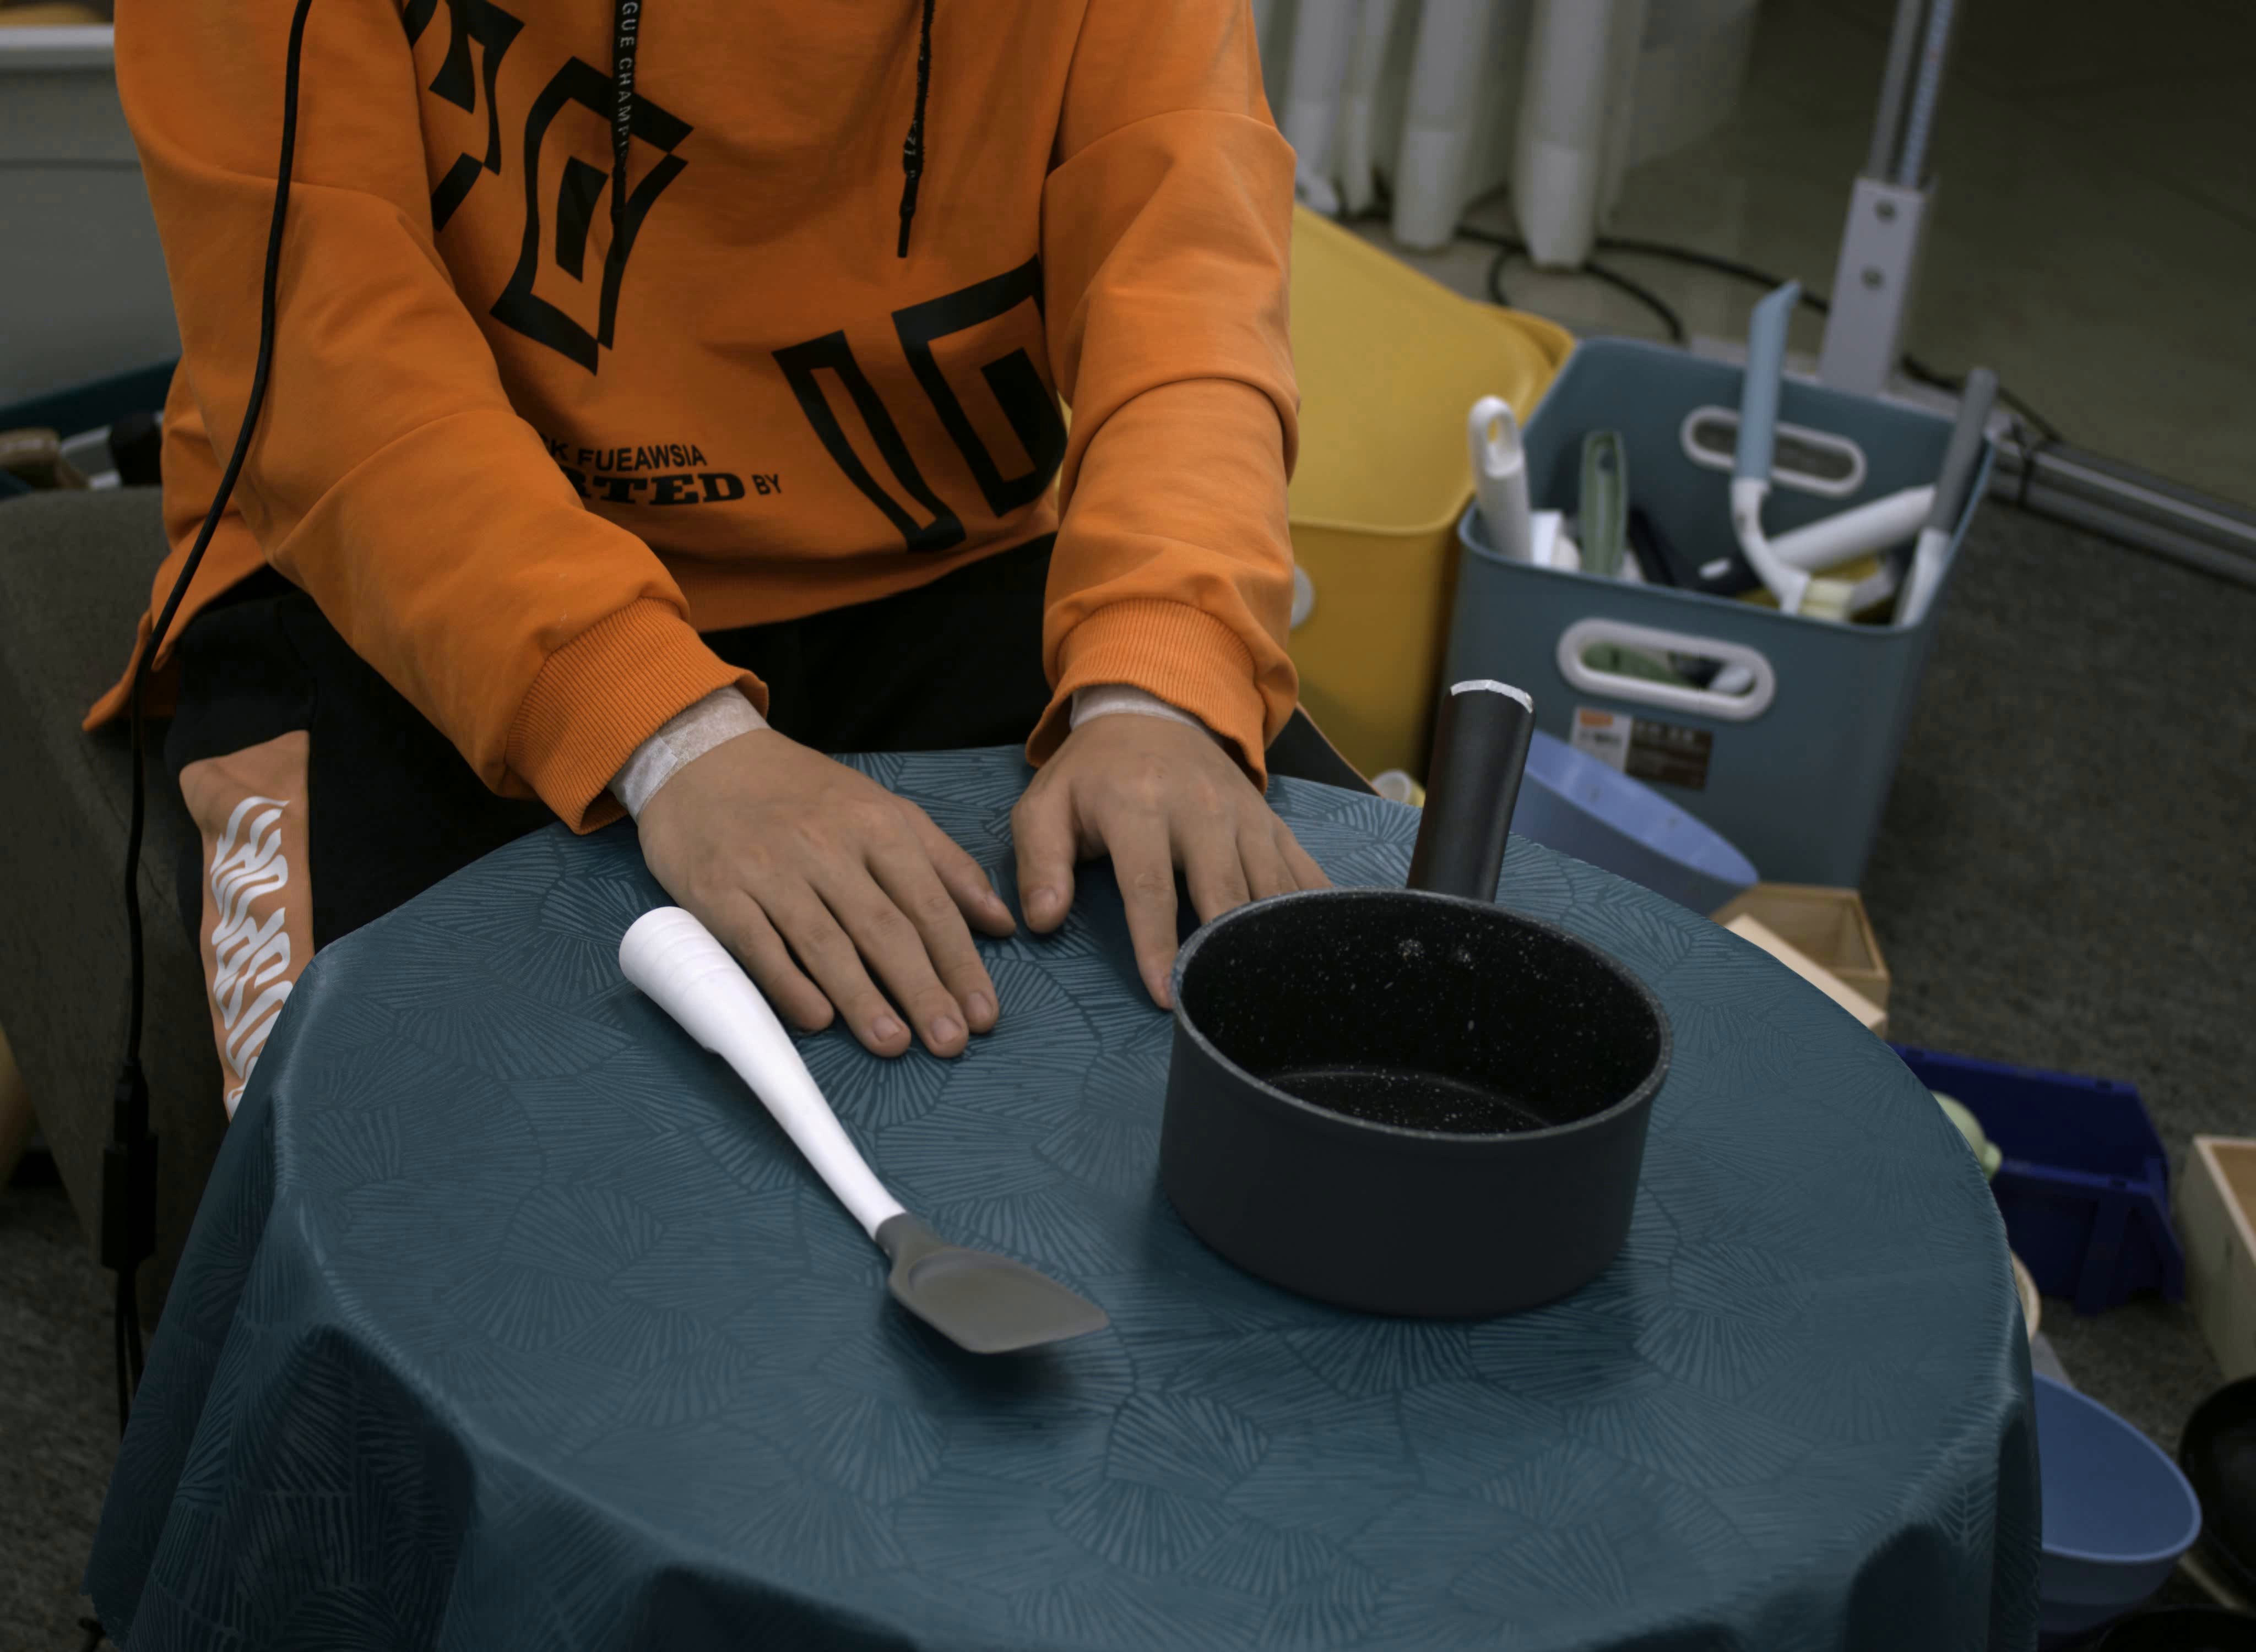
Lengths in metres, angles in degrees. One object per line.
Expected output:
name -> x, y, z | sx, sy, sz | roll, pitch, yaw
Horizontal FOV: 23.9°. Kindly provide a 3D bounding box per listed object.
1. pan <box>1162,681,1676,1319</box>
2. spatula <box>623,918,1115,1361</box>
pan -> 0.110, 0.056, 1.867 | 0.172, 0.086, 0.330 | 11, 29, 7
spatula -> -0.095, 0.109, 1.777 | 0.058, 0.032, 0.290 | -5, 28, -31
